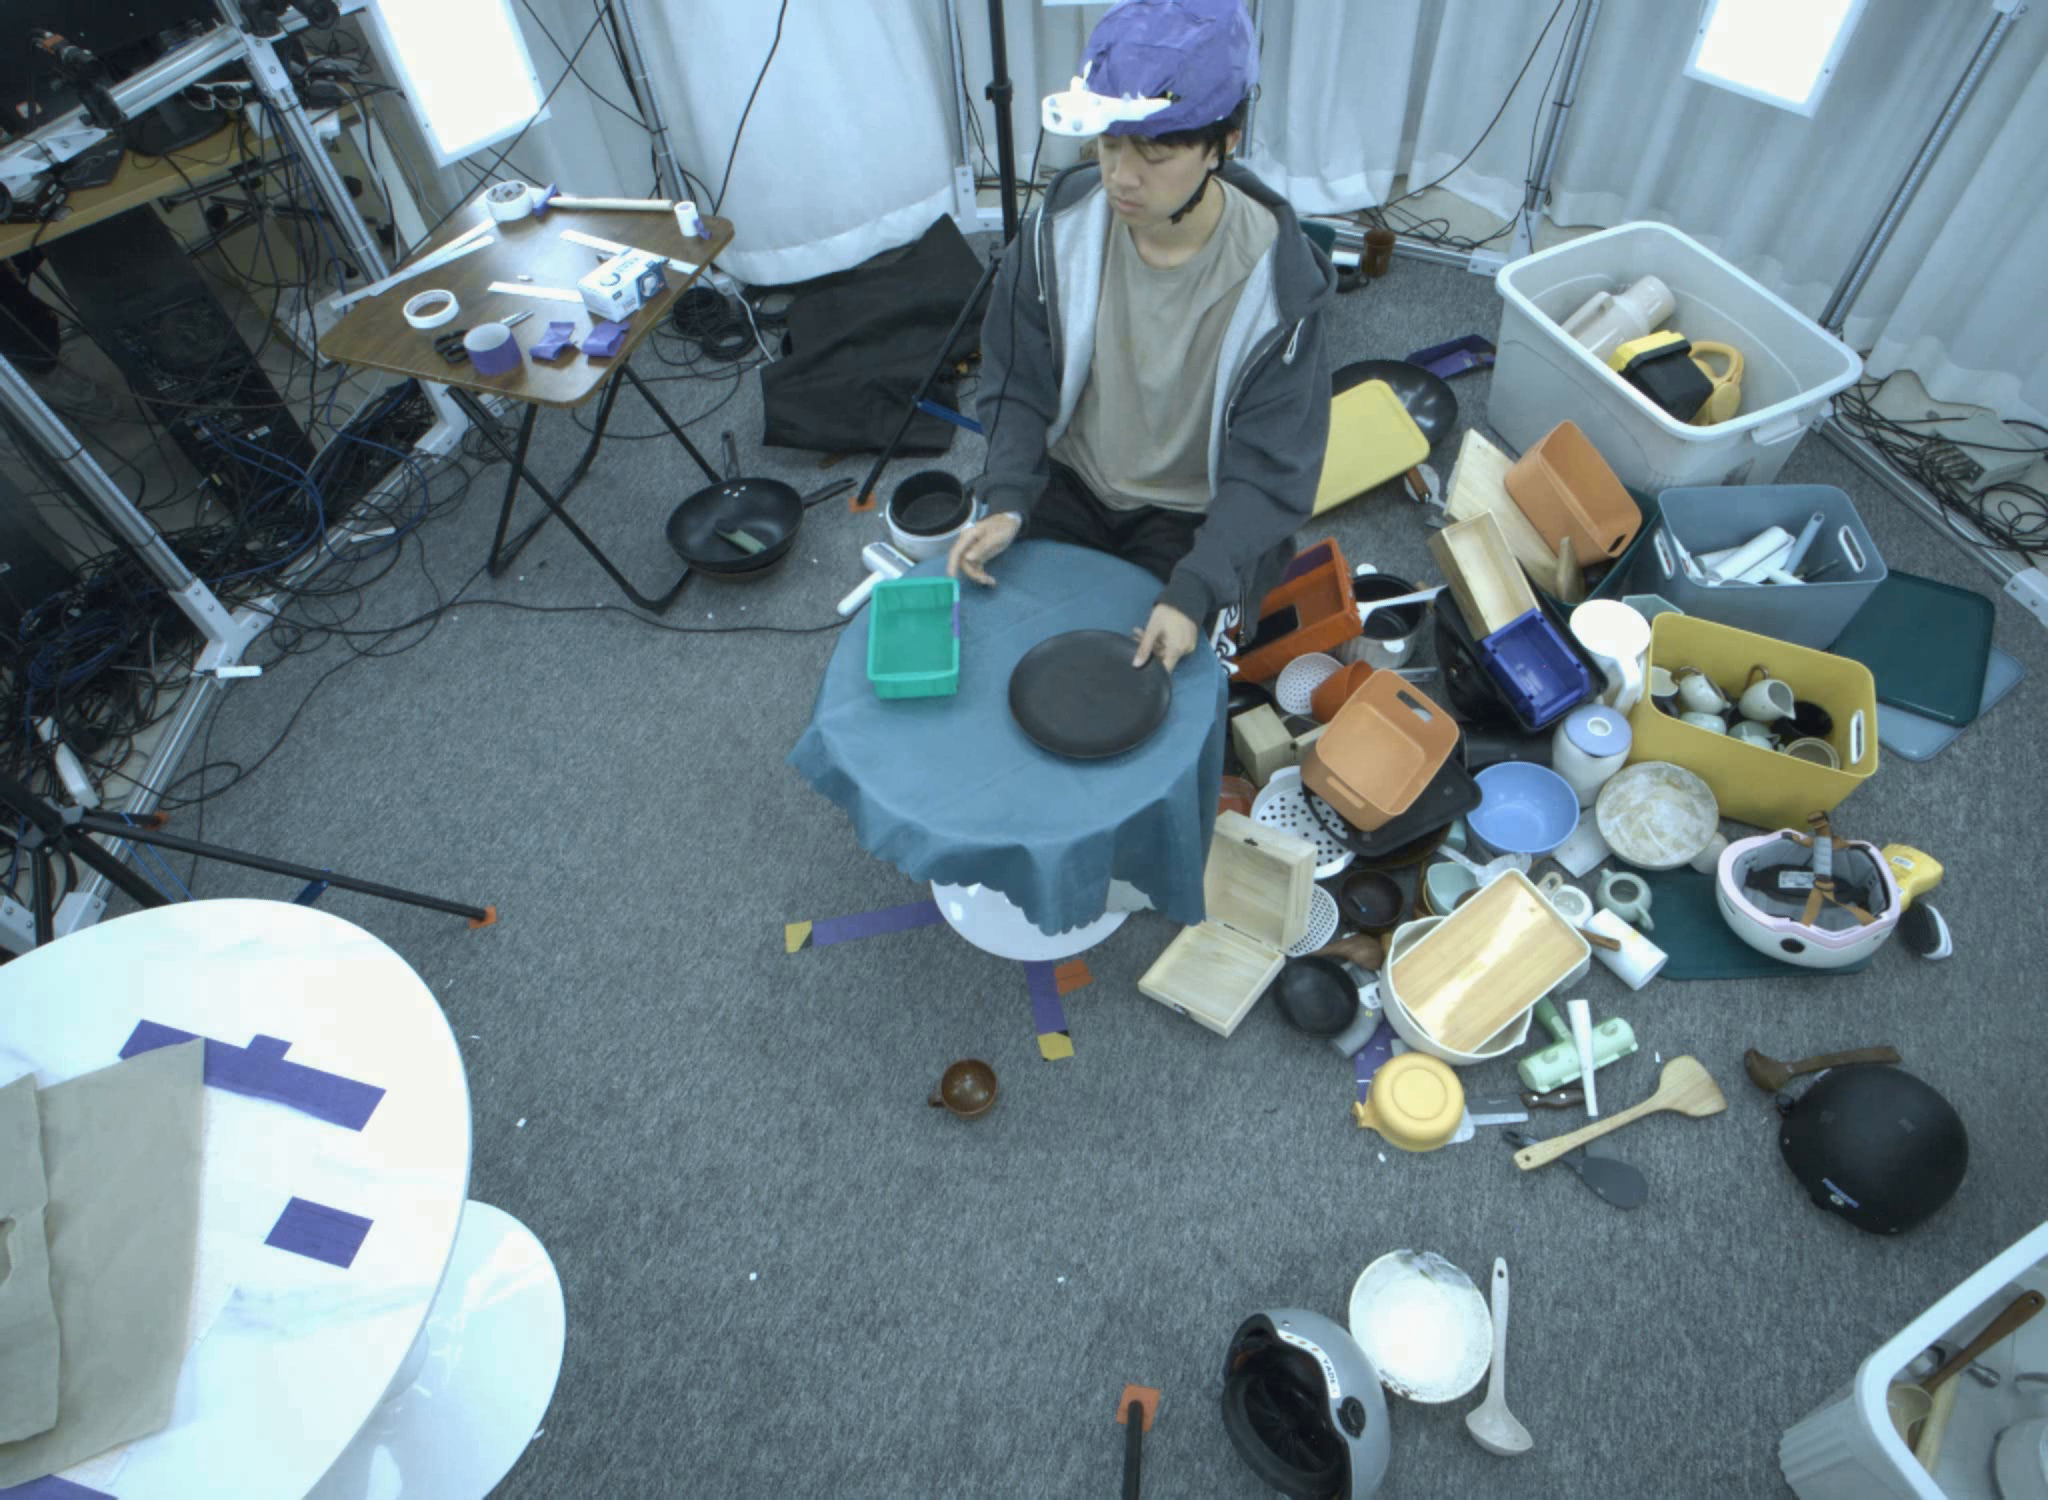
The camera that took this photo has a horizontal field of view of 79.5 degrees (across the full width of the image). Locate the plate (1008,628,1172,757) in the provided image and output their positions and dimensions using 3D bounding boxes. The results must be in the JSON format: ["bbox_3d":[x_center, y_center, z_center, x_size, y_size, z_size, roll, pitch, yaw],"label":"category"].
[{"bbox_3d":[0.098,-0.084,1.832,0.244,0.024,0.242,-1,55,2],"label":"plate"}]

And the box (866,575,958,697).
[{"bbox_3d":[-0.168,-0.172,1.879,0.139,0.066,0.208,-3,52,-2],"label":"box"}]
